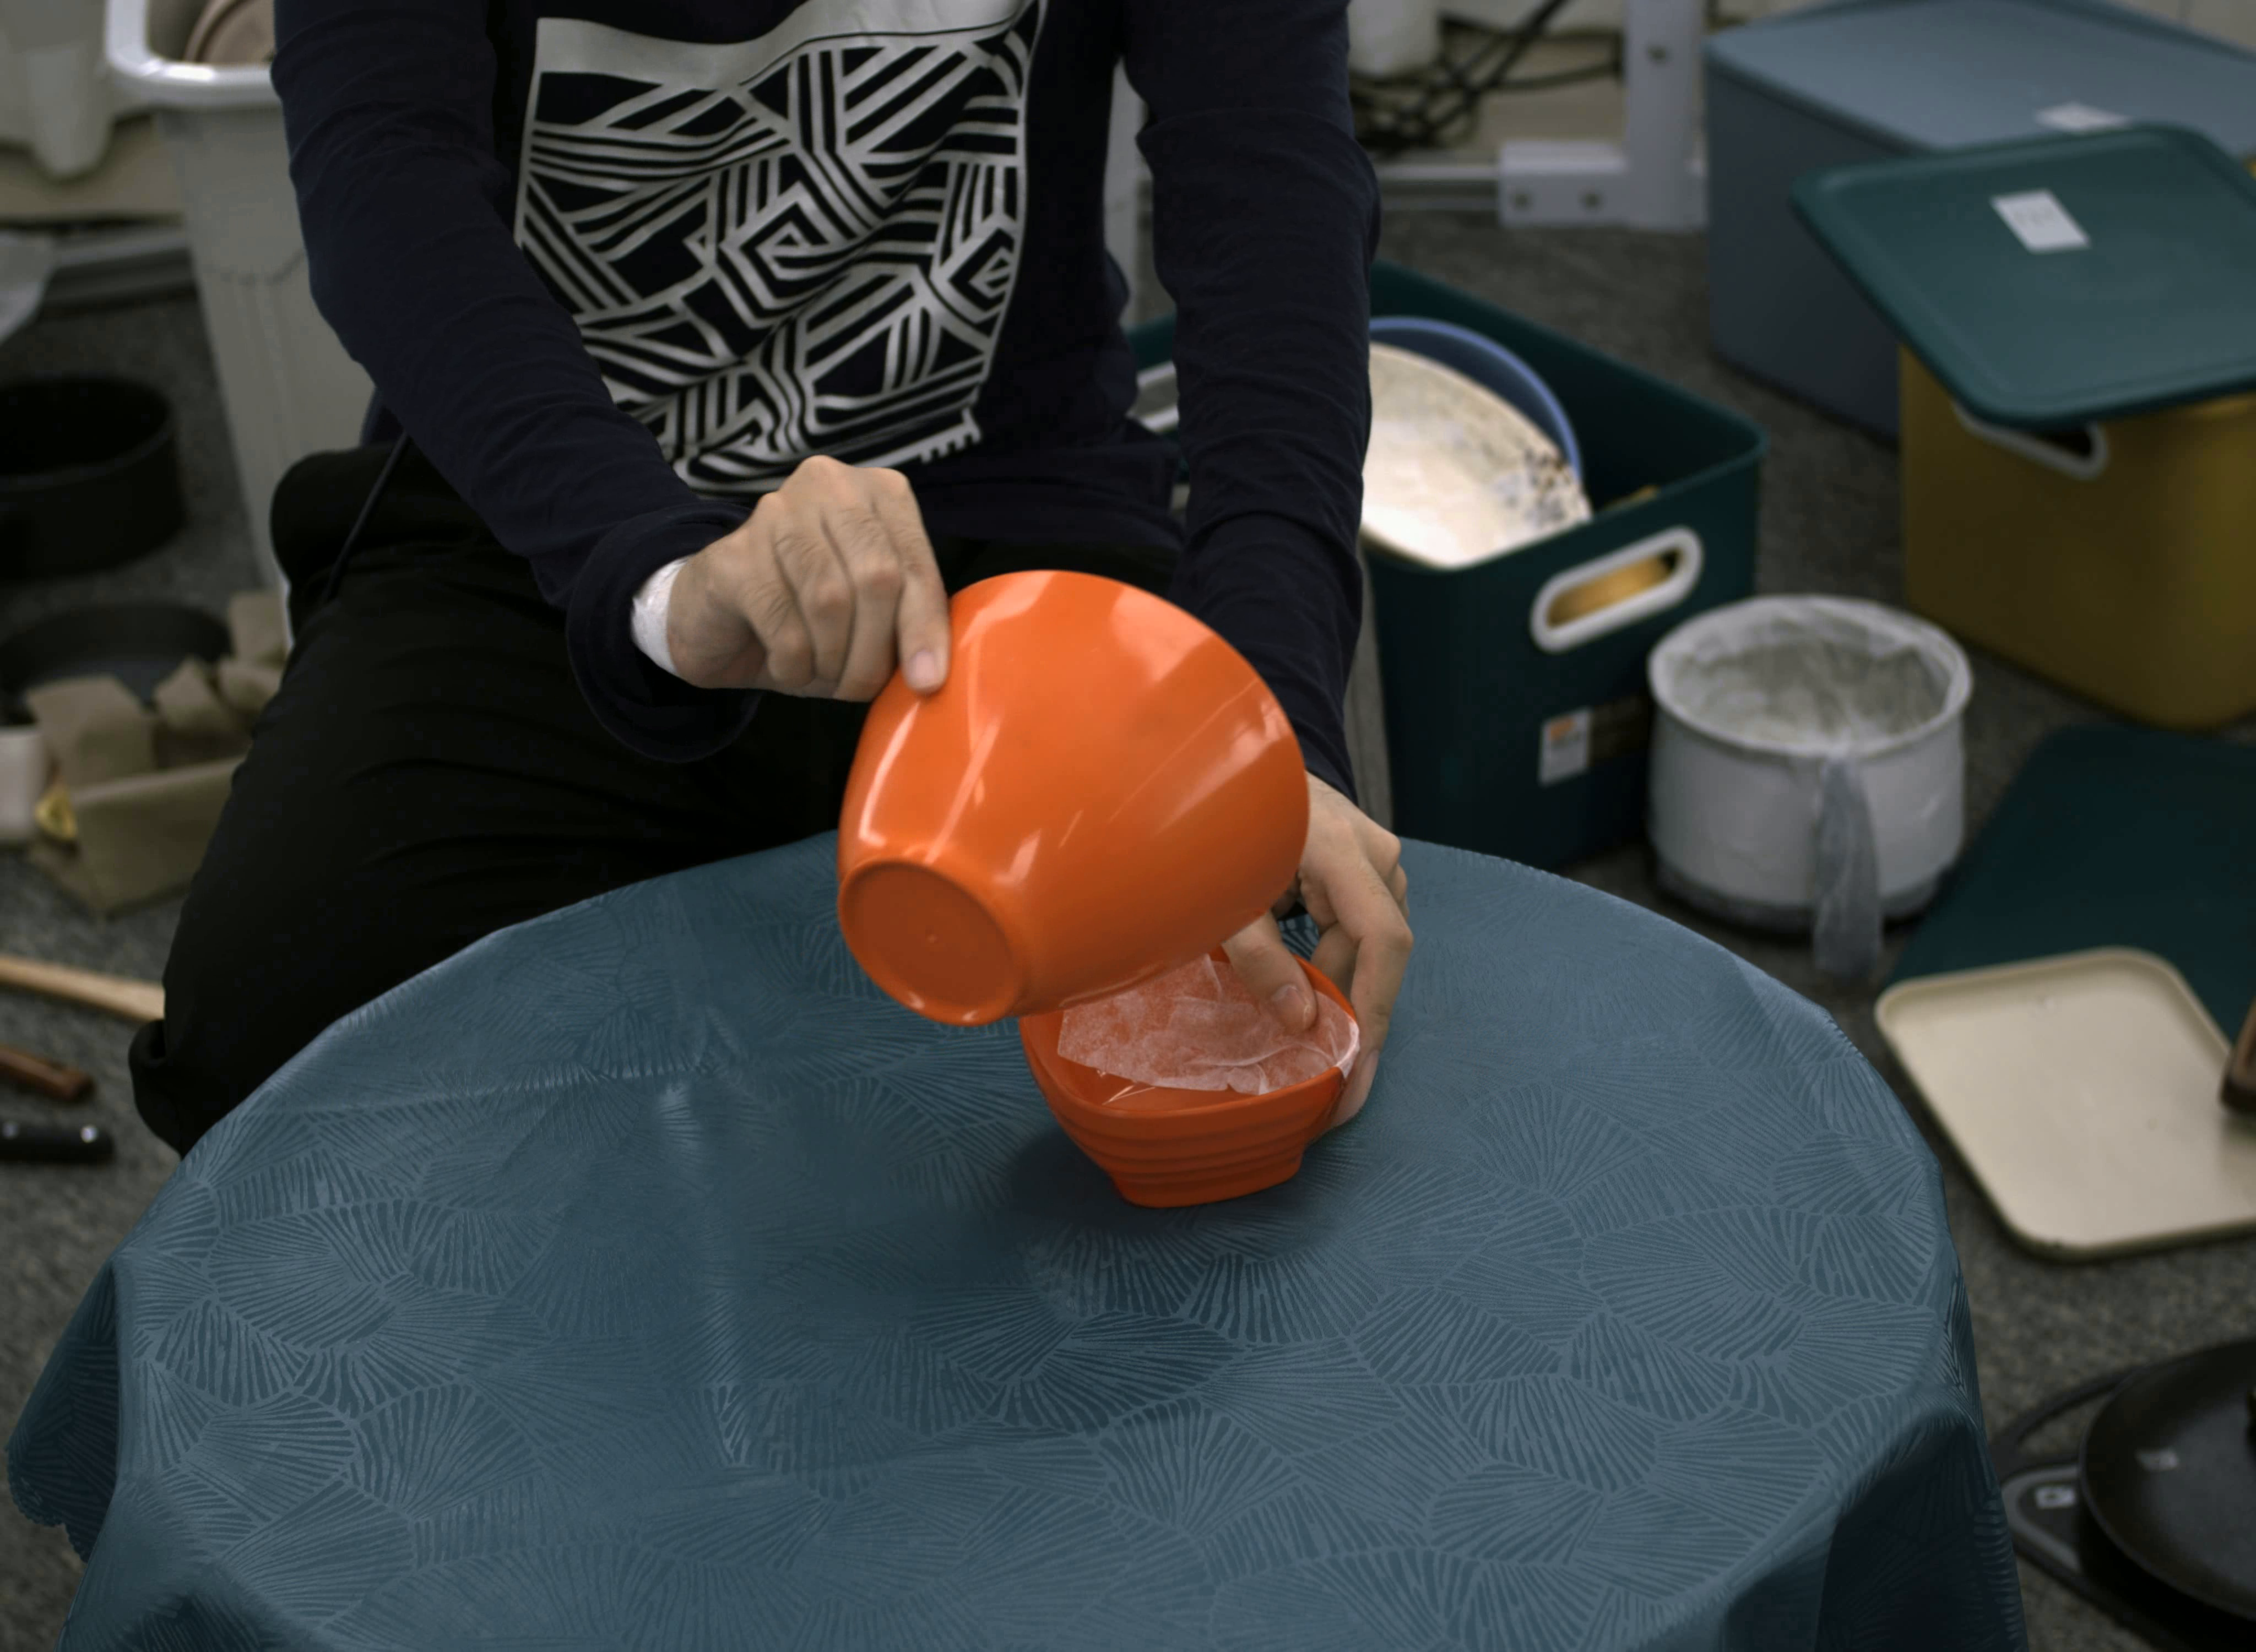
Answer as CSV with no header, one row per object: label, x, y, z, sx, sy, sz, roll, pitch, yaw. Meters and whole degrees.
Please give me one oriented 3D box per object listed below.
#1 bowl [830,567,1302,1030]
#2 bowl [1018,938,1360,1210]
bowl,-0.033,0.004,1.781,0.147,0.146,0.106,12,44,27
bowl,0.021,0.087,1.872,0.118,0.051,0.121,-3,28,2
